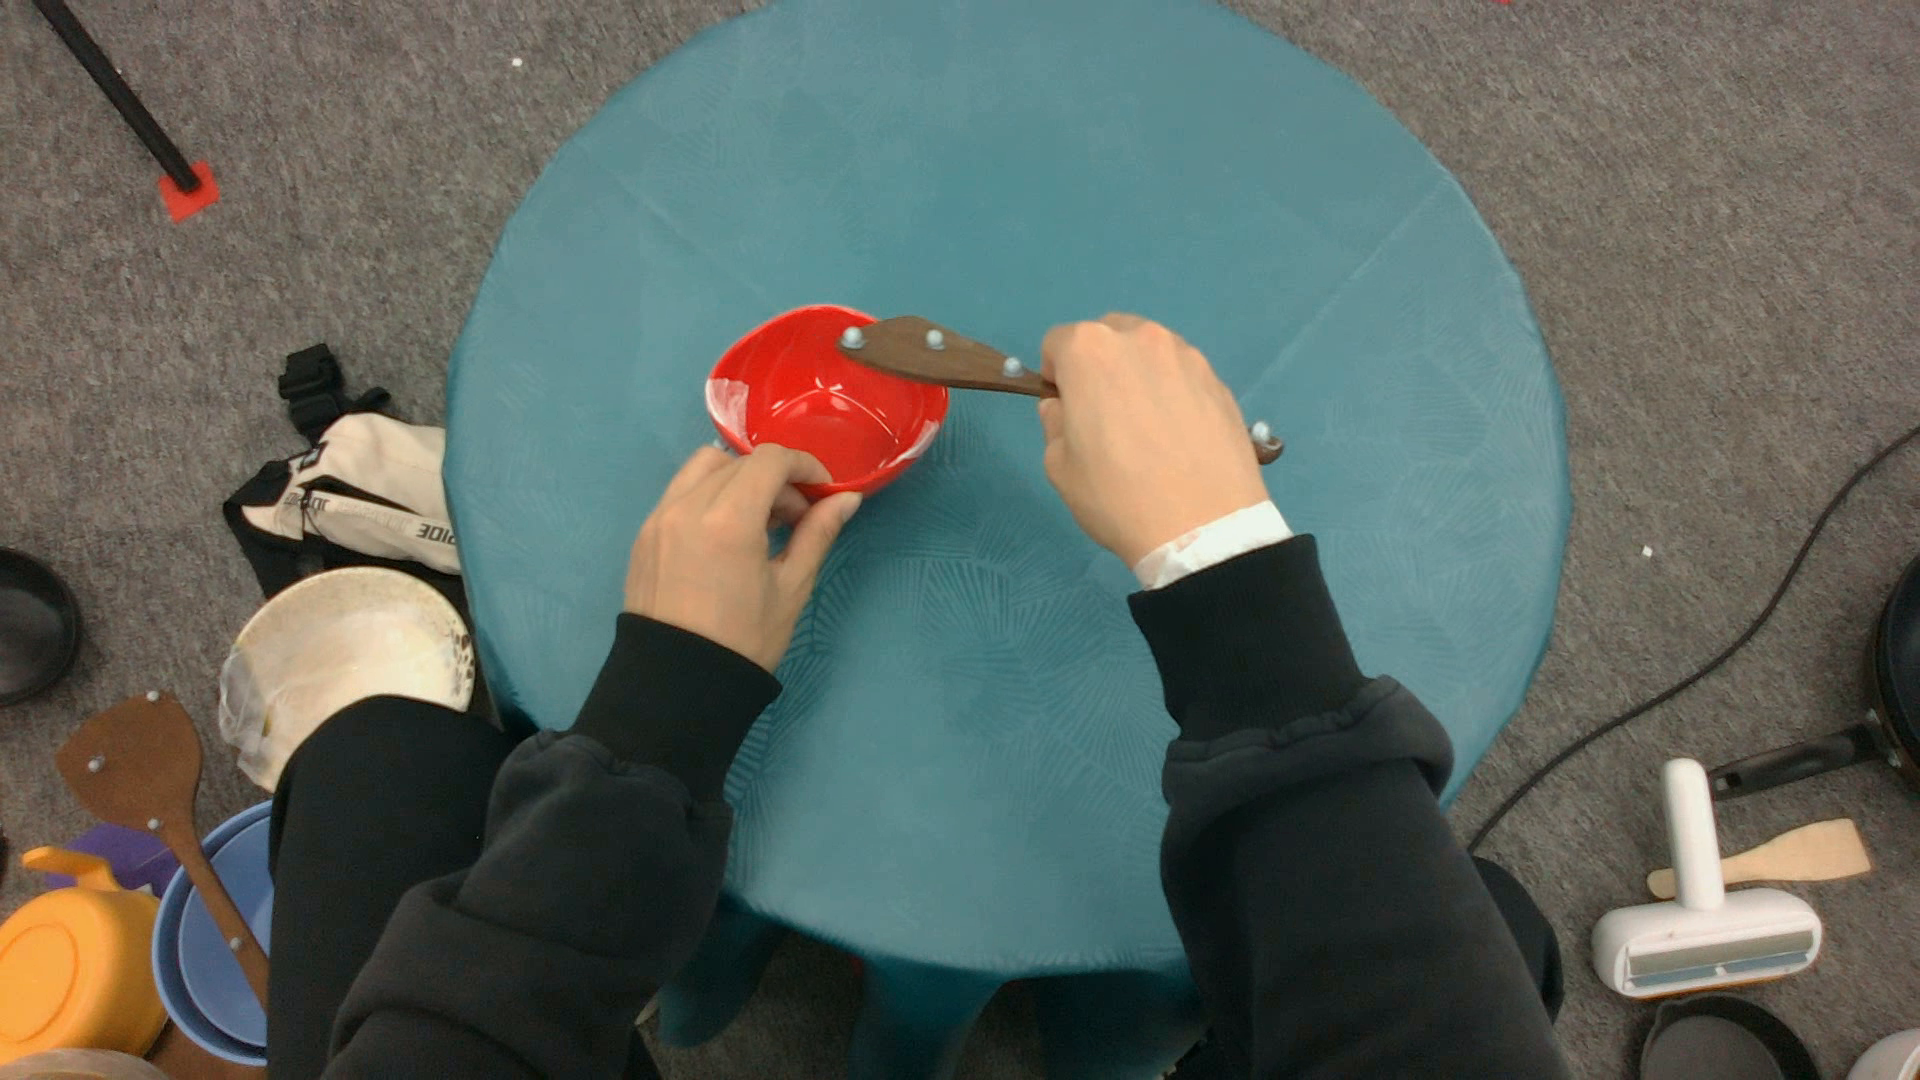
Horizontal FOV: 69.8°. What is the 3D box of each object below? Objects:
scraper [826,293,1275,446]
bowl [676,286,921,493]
[{"bbox_3d":[0.039,-0.076,0.615,0.211,0.011,0.076,21,30,26],"label":"scraper"},{"bbox_3d":[-0.081,-0.068,0.689,0.119,0.051,0.119,5,52,-6],"label":"bowl"}]
